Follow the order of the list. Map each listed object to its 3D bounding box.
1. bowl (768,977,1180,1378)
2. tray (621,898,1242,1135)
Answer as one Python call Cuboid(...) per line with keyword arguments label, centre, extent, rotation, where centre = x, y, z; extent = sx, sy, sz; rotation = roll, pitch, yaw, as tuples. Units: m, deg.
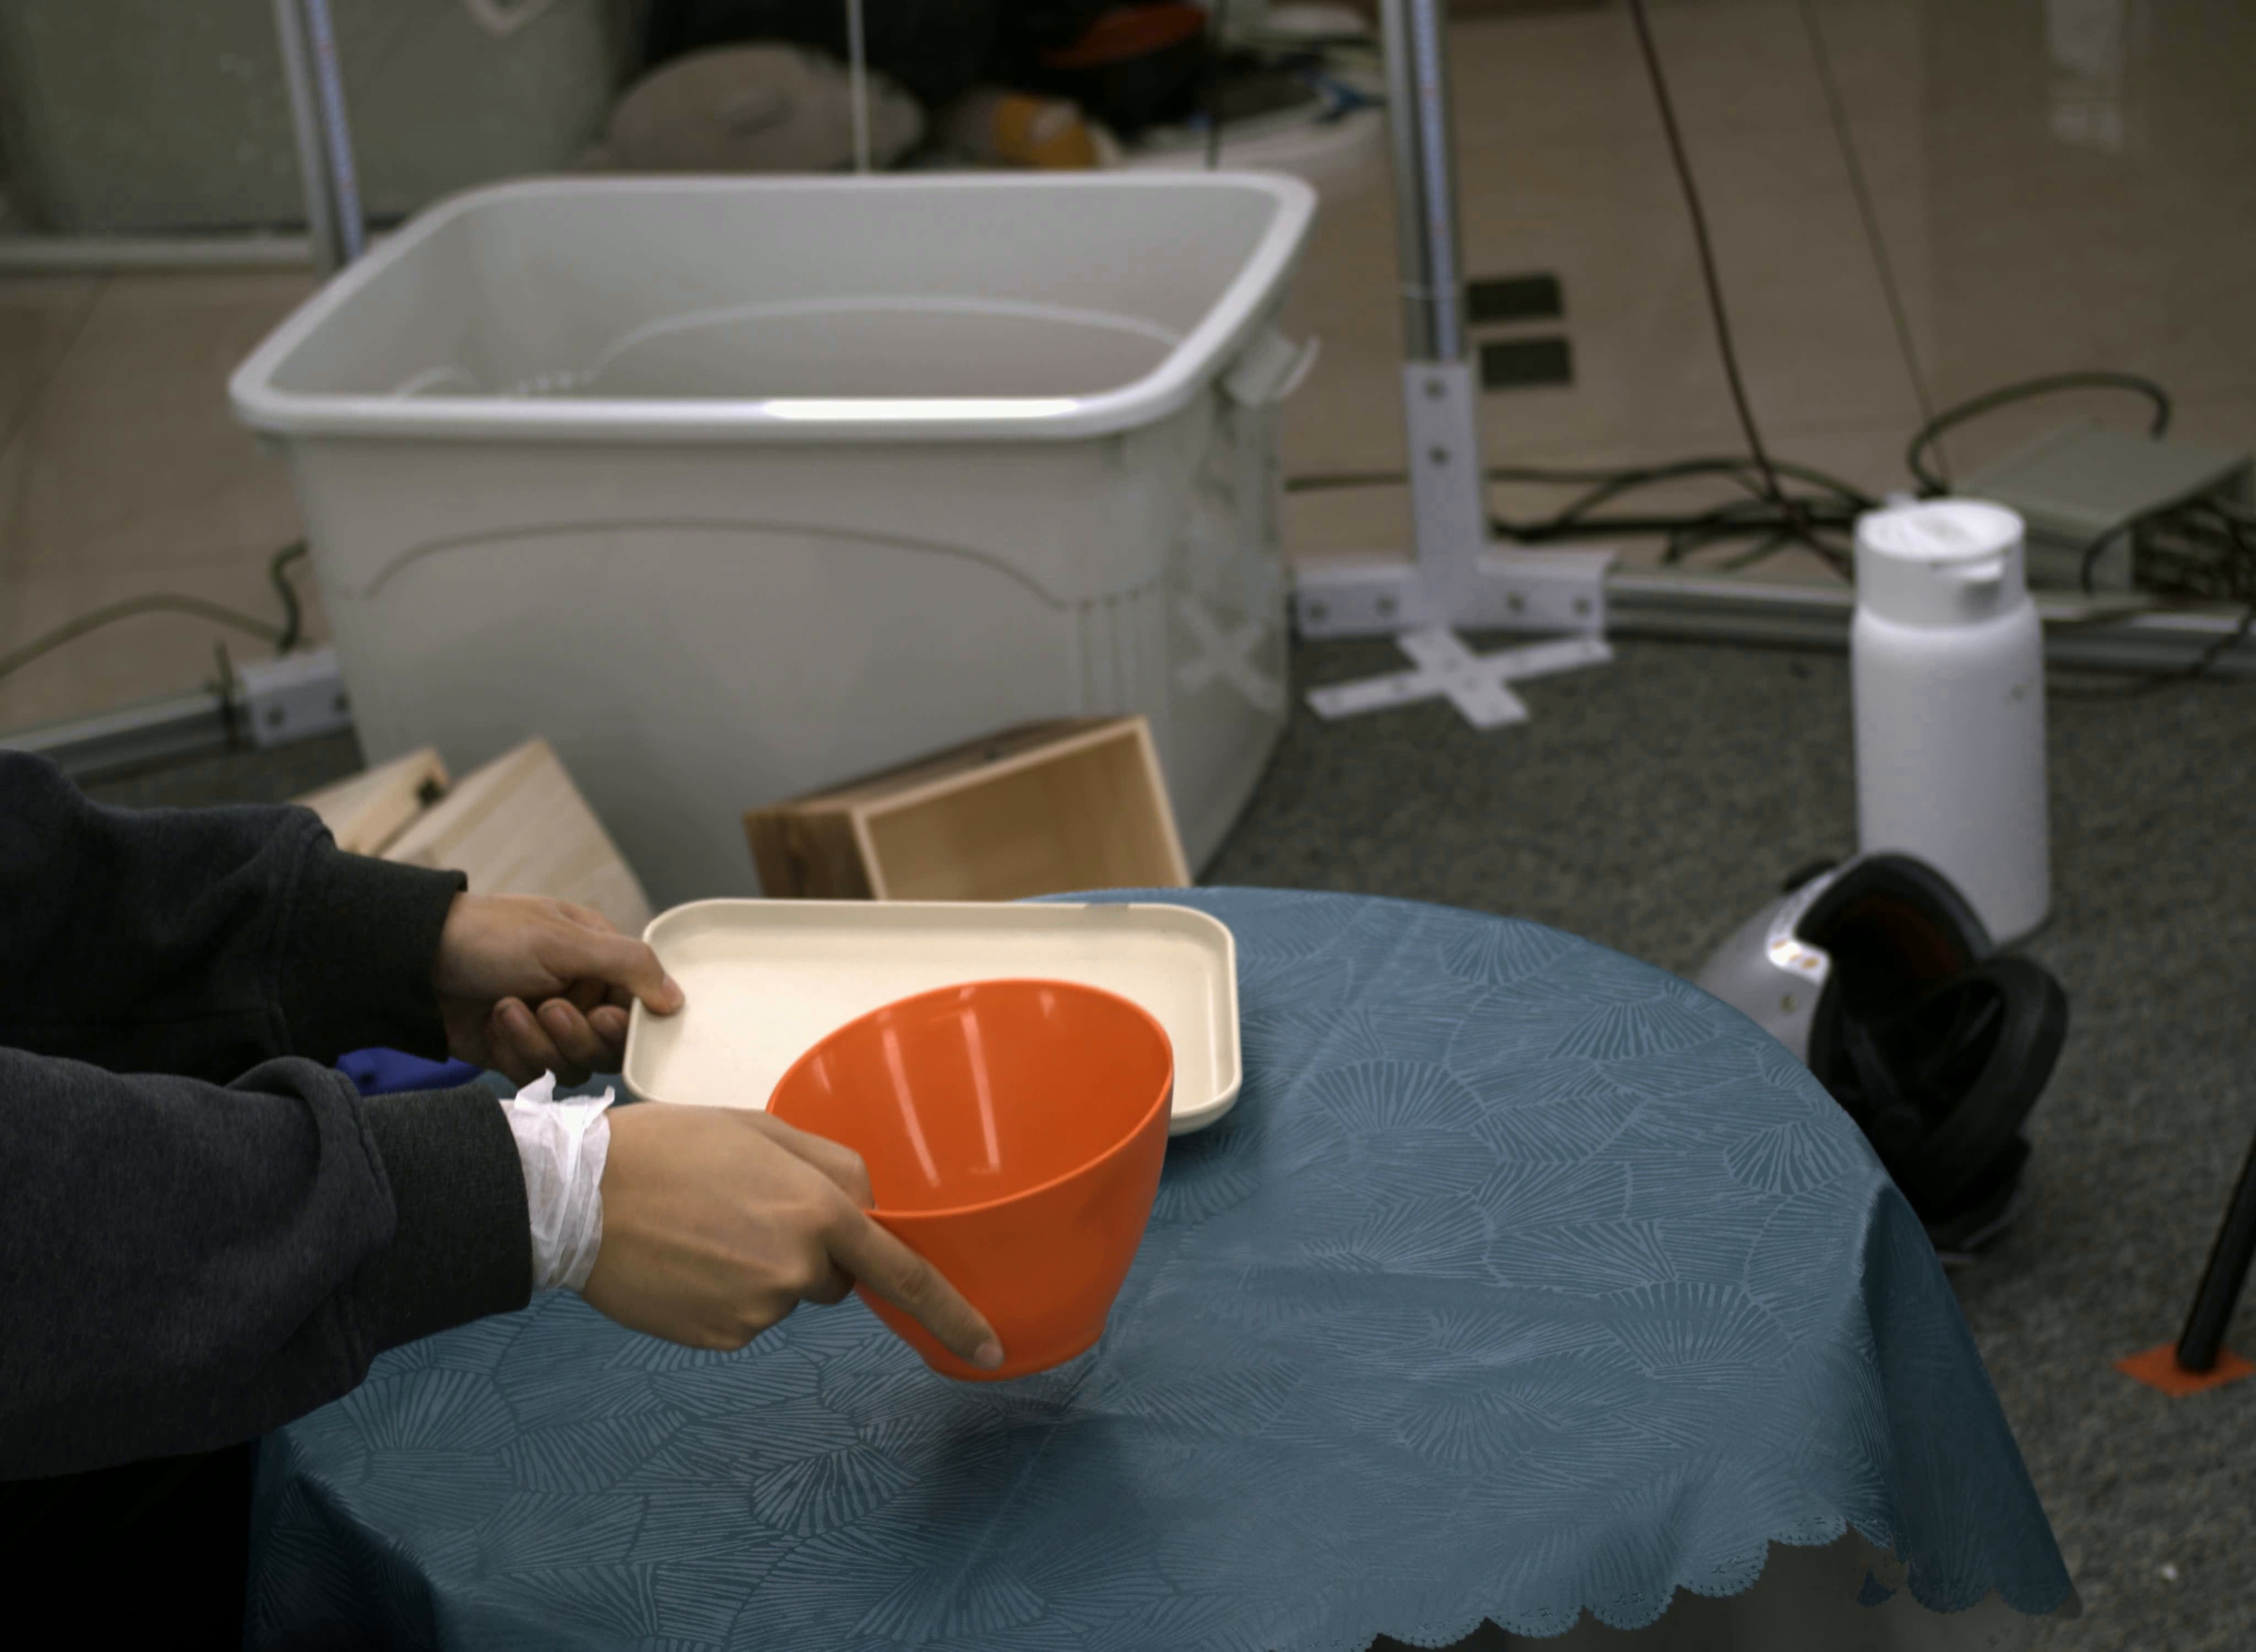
Cuboid(label="bowl", centre=(-0.047, 0.130, 2.003), extent=(0.148, 0.106, 0.146), rotation=(-9, 20, 4))
Cuboid(label="tray", centre=(-0.076, 0.076, 2.222), extent=(0.239, 0.018, 0.168), rotation=(1, 29, -1))
